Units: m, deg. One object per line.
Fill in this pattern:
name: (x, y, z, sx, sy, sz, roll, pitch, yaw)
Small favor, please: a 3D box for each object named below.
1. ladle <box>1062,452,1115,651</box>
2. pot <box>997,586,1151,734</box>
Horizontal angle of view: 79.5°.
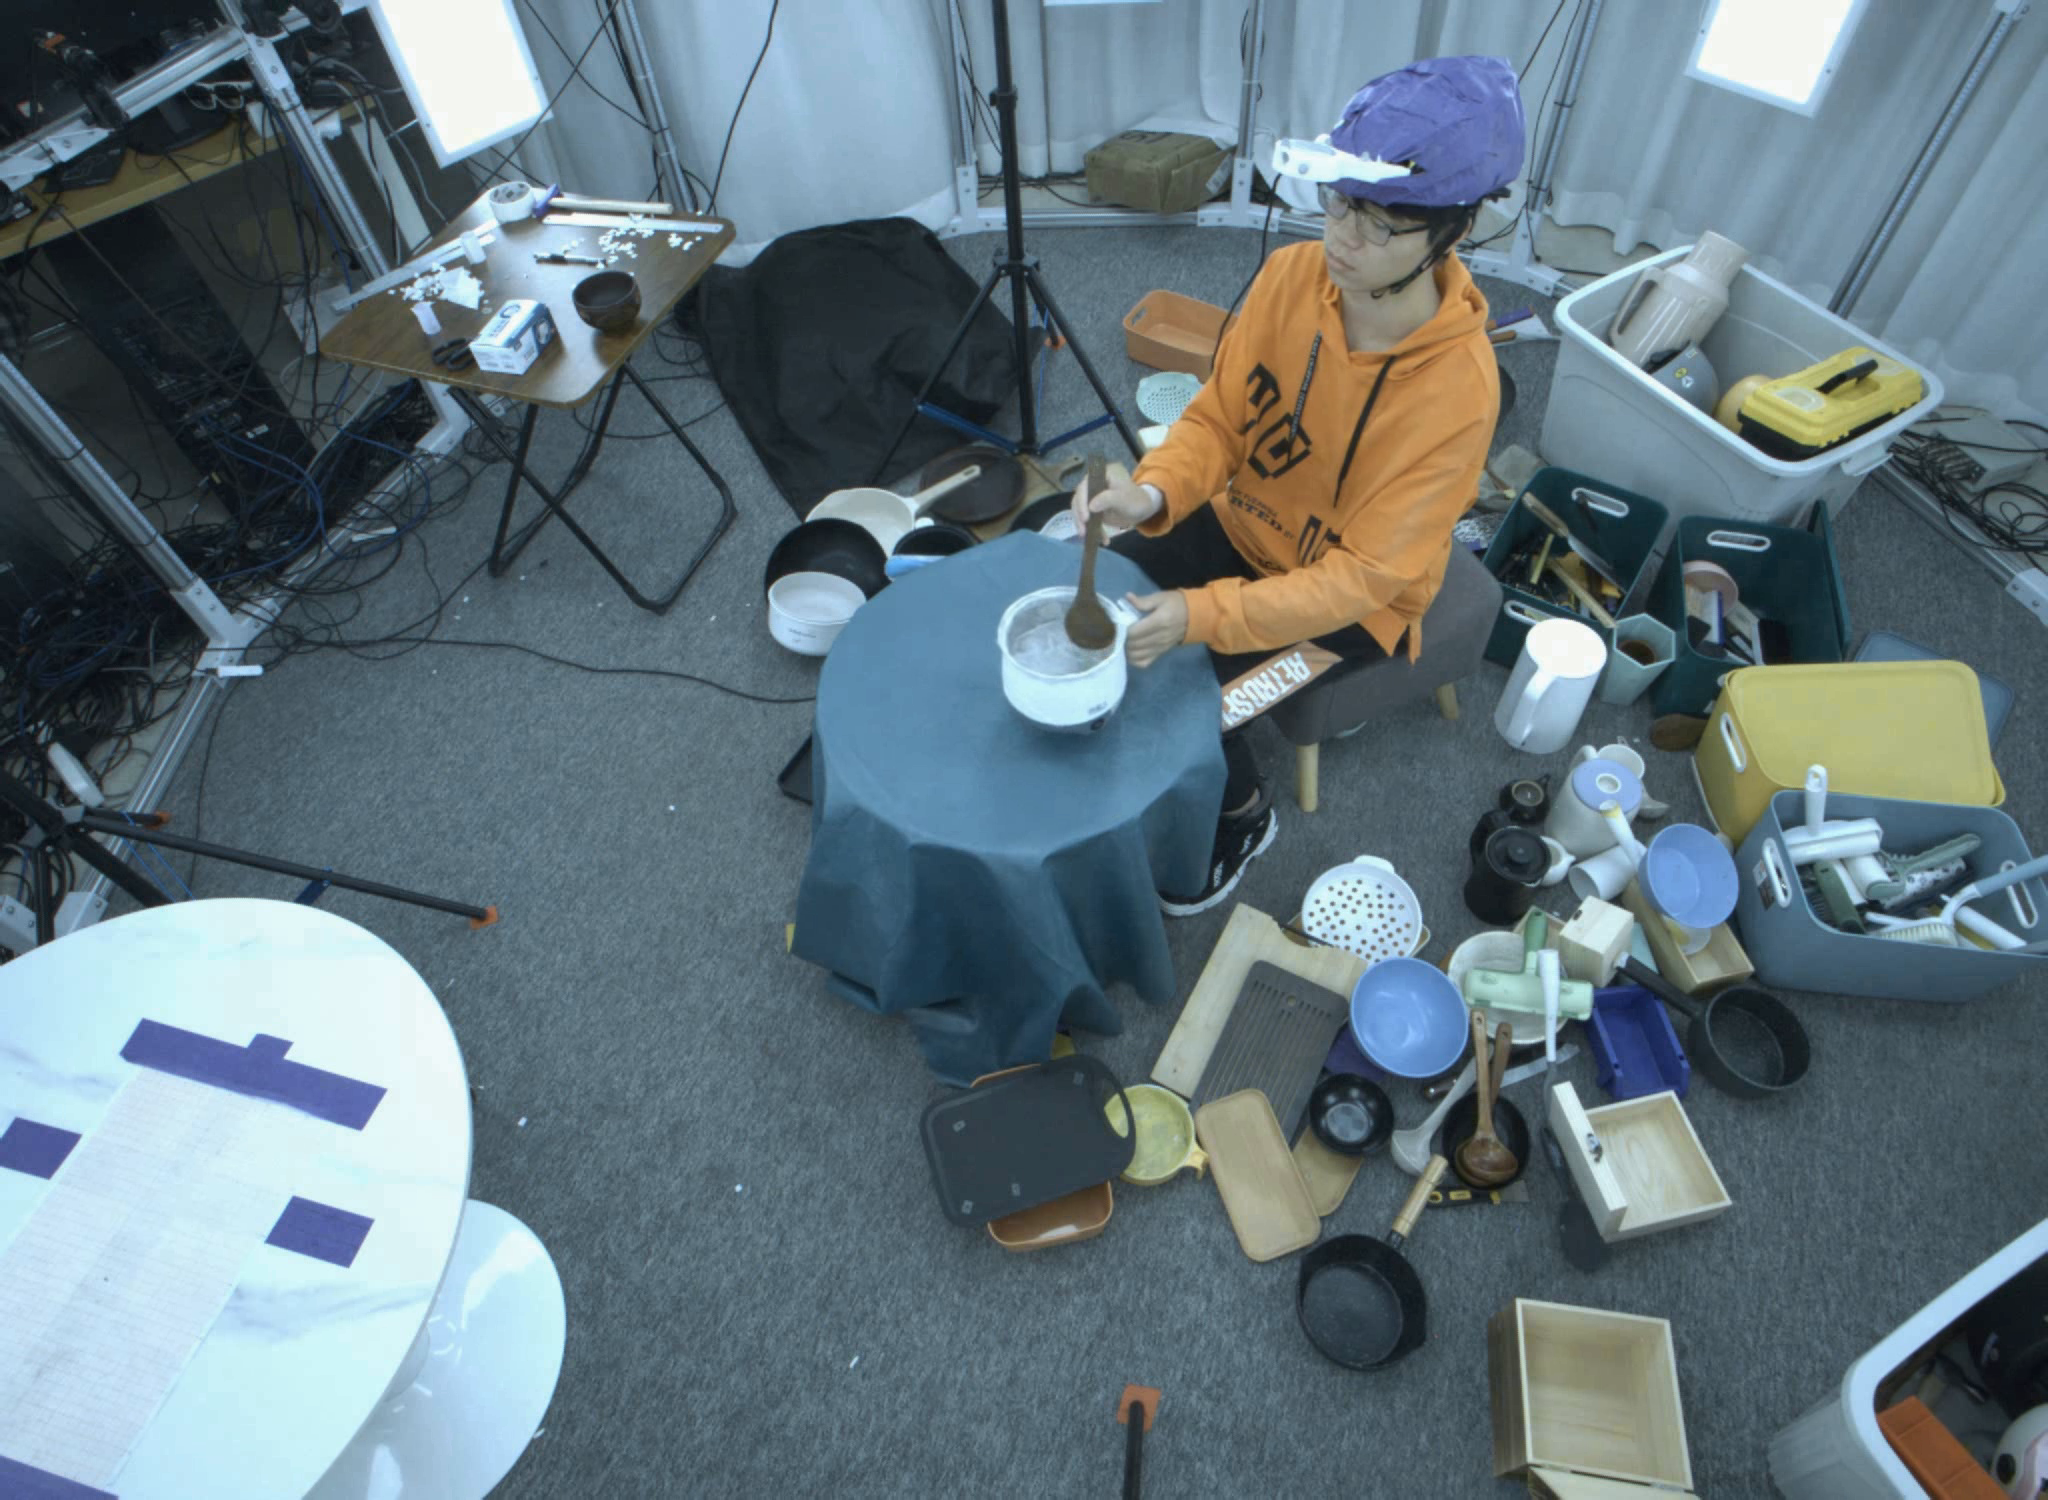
ladle: (0.098, -0.273, 1.680, 0.077, 0.275, 0.070, 1, 10, -25)
pot: (0.078, -0.136, 1.746, 0.236, 0.138, 0.175, -29, 57, -19)
